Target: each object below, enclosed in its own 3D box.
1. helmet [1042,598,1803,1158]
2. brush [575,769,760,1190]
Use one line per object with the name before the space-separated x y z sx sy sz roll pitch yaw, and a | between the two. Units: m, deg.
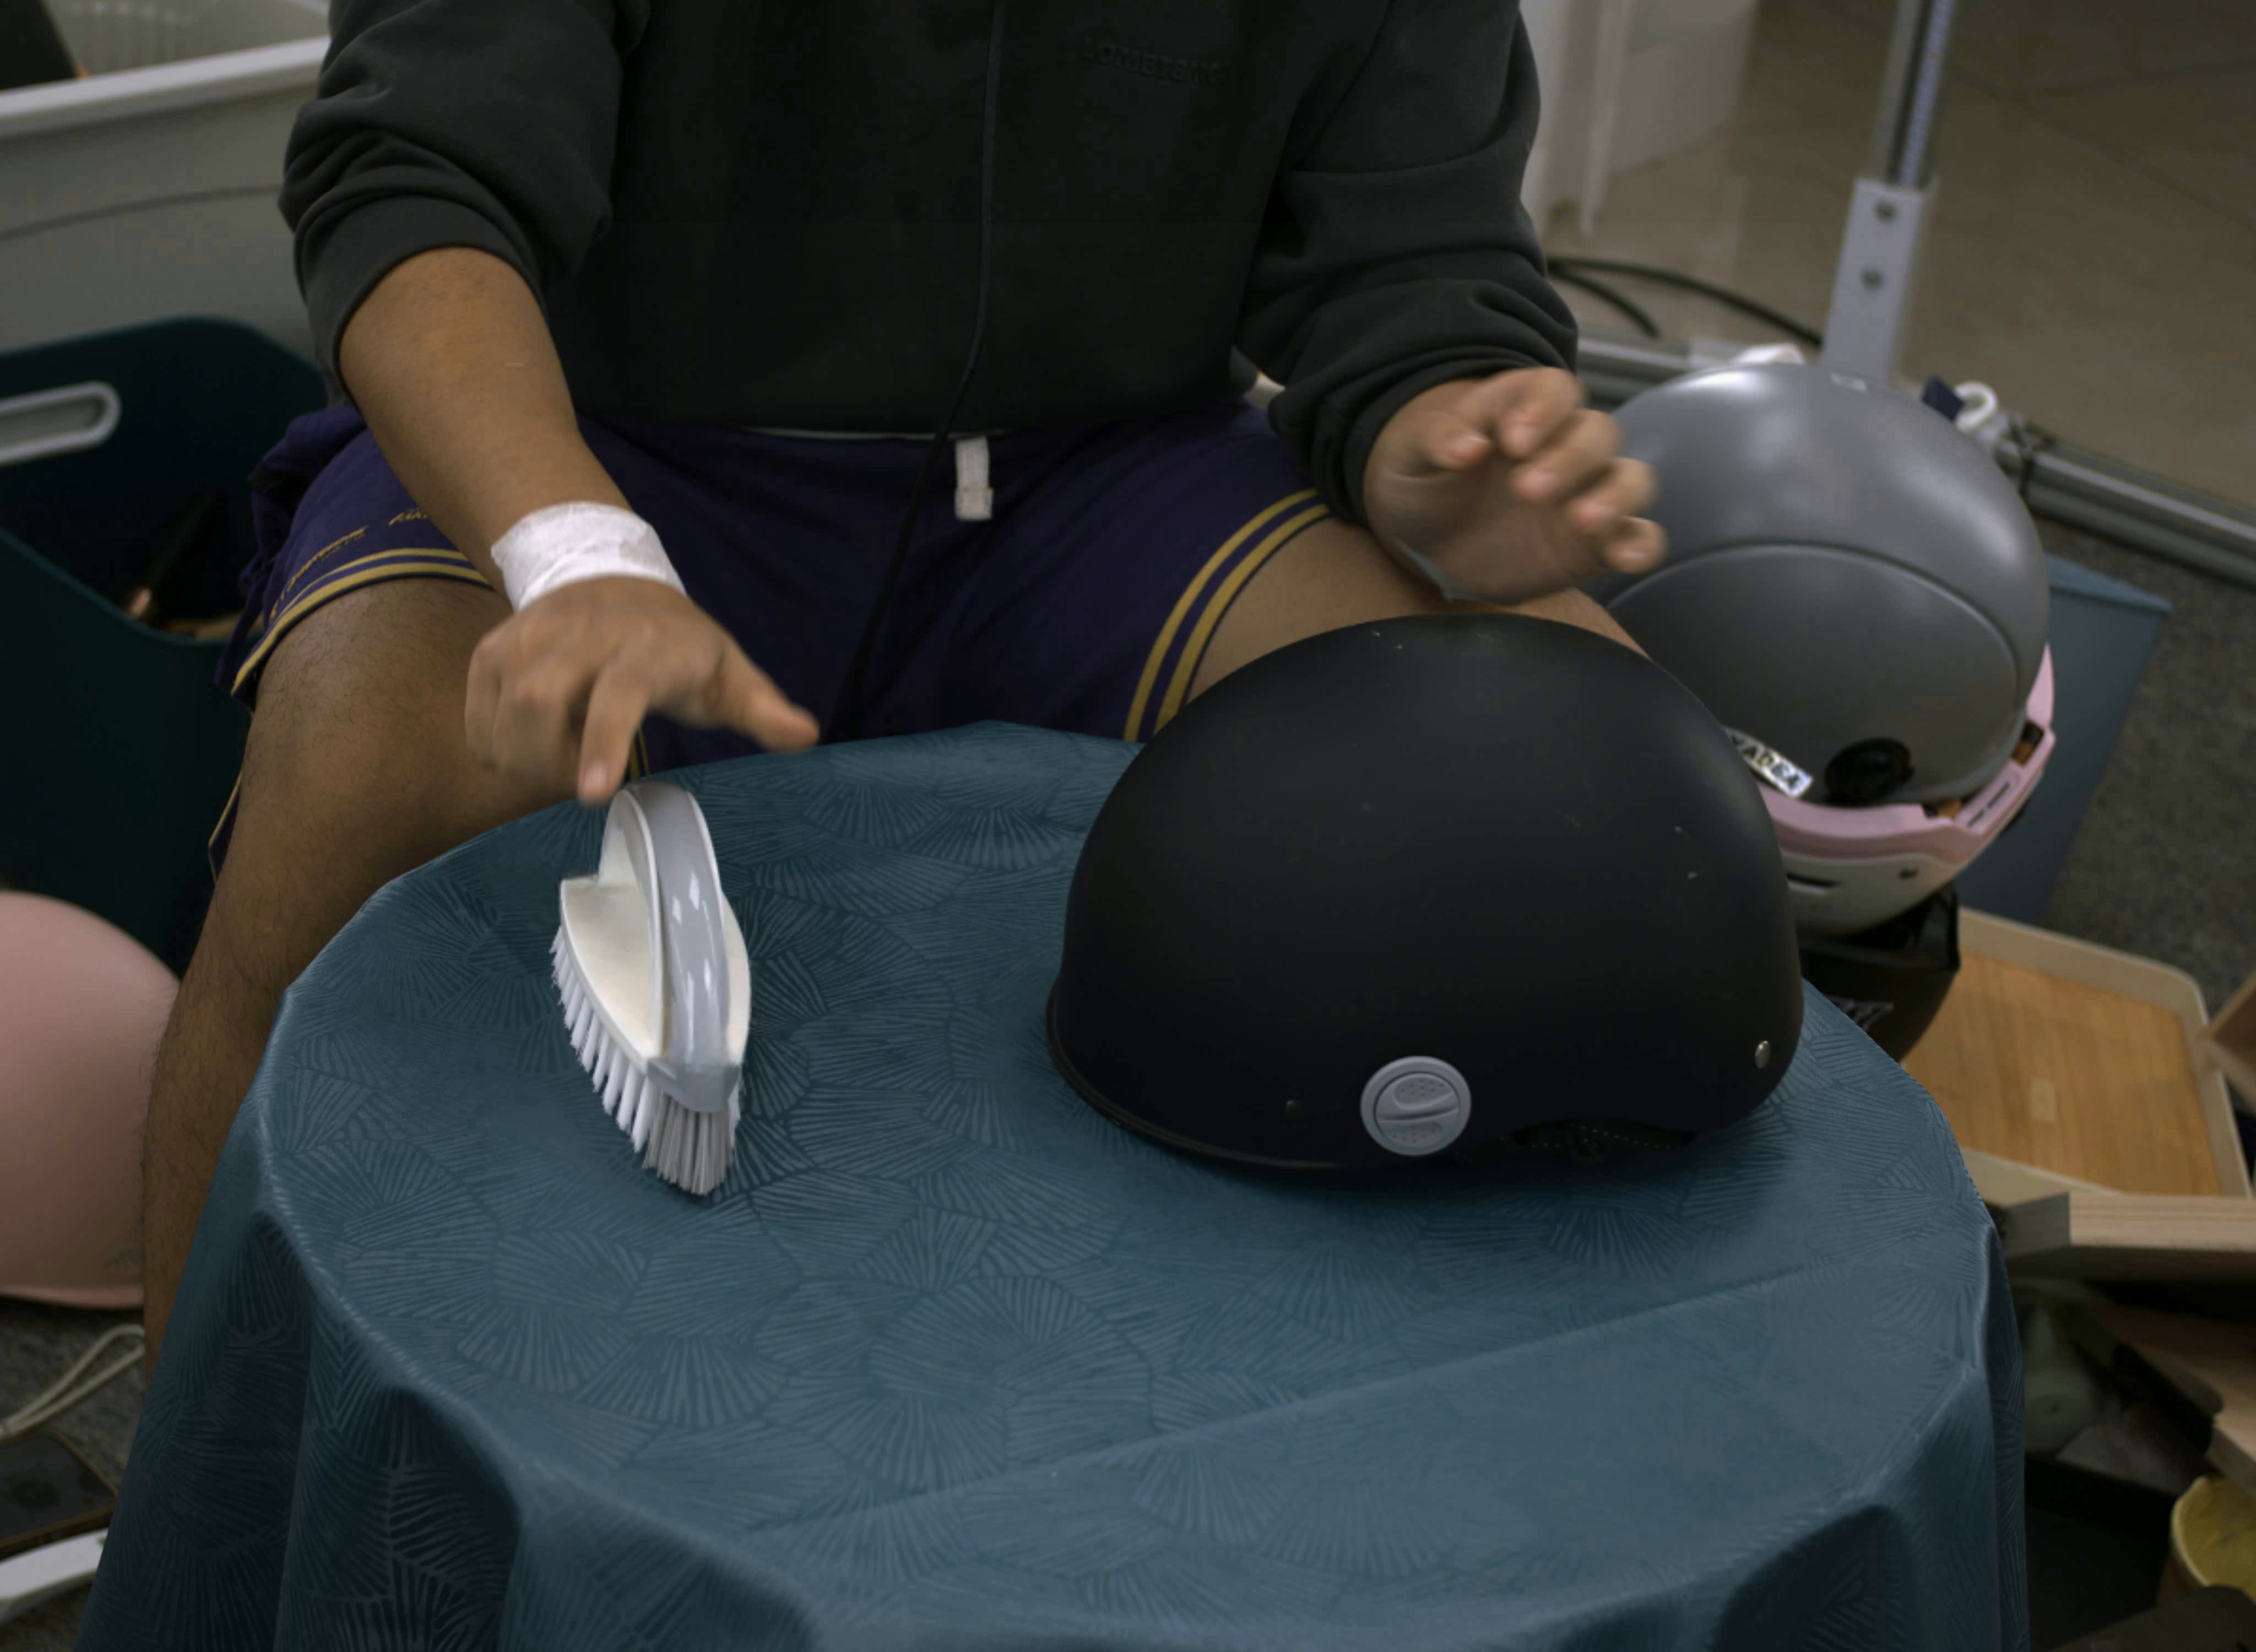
helmet | 0.109 0.008 1.877 0.271 0.166 0.232 -3 27 -13
brush | -0.154 0.044 1.823 0.061 0.094 0.177 -3 29 -12
